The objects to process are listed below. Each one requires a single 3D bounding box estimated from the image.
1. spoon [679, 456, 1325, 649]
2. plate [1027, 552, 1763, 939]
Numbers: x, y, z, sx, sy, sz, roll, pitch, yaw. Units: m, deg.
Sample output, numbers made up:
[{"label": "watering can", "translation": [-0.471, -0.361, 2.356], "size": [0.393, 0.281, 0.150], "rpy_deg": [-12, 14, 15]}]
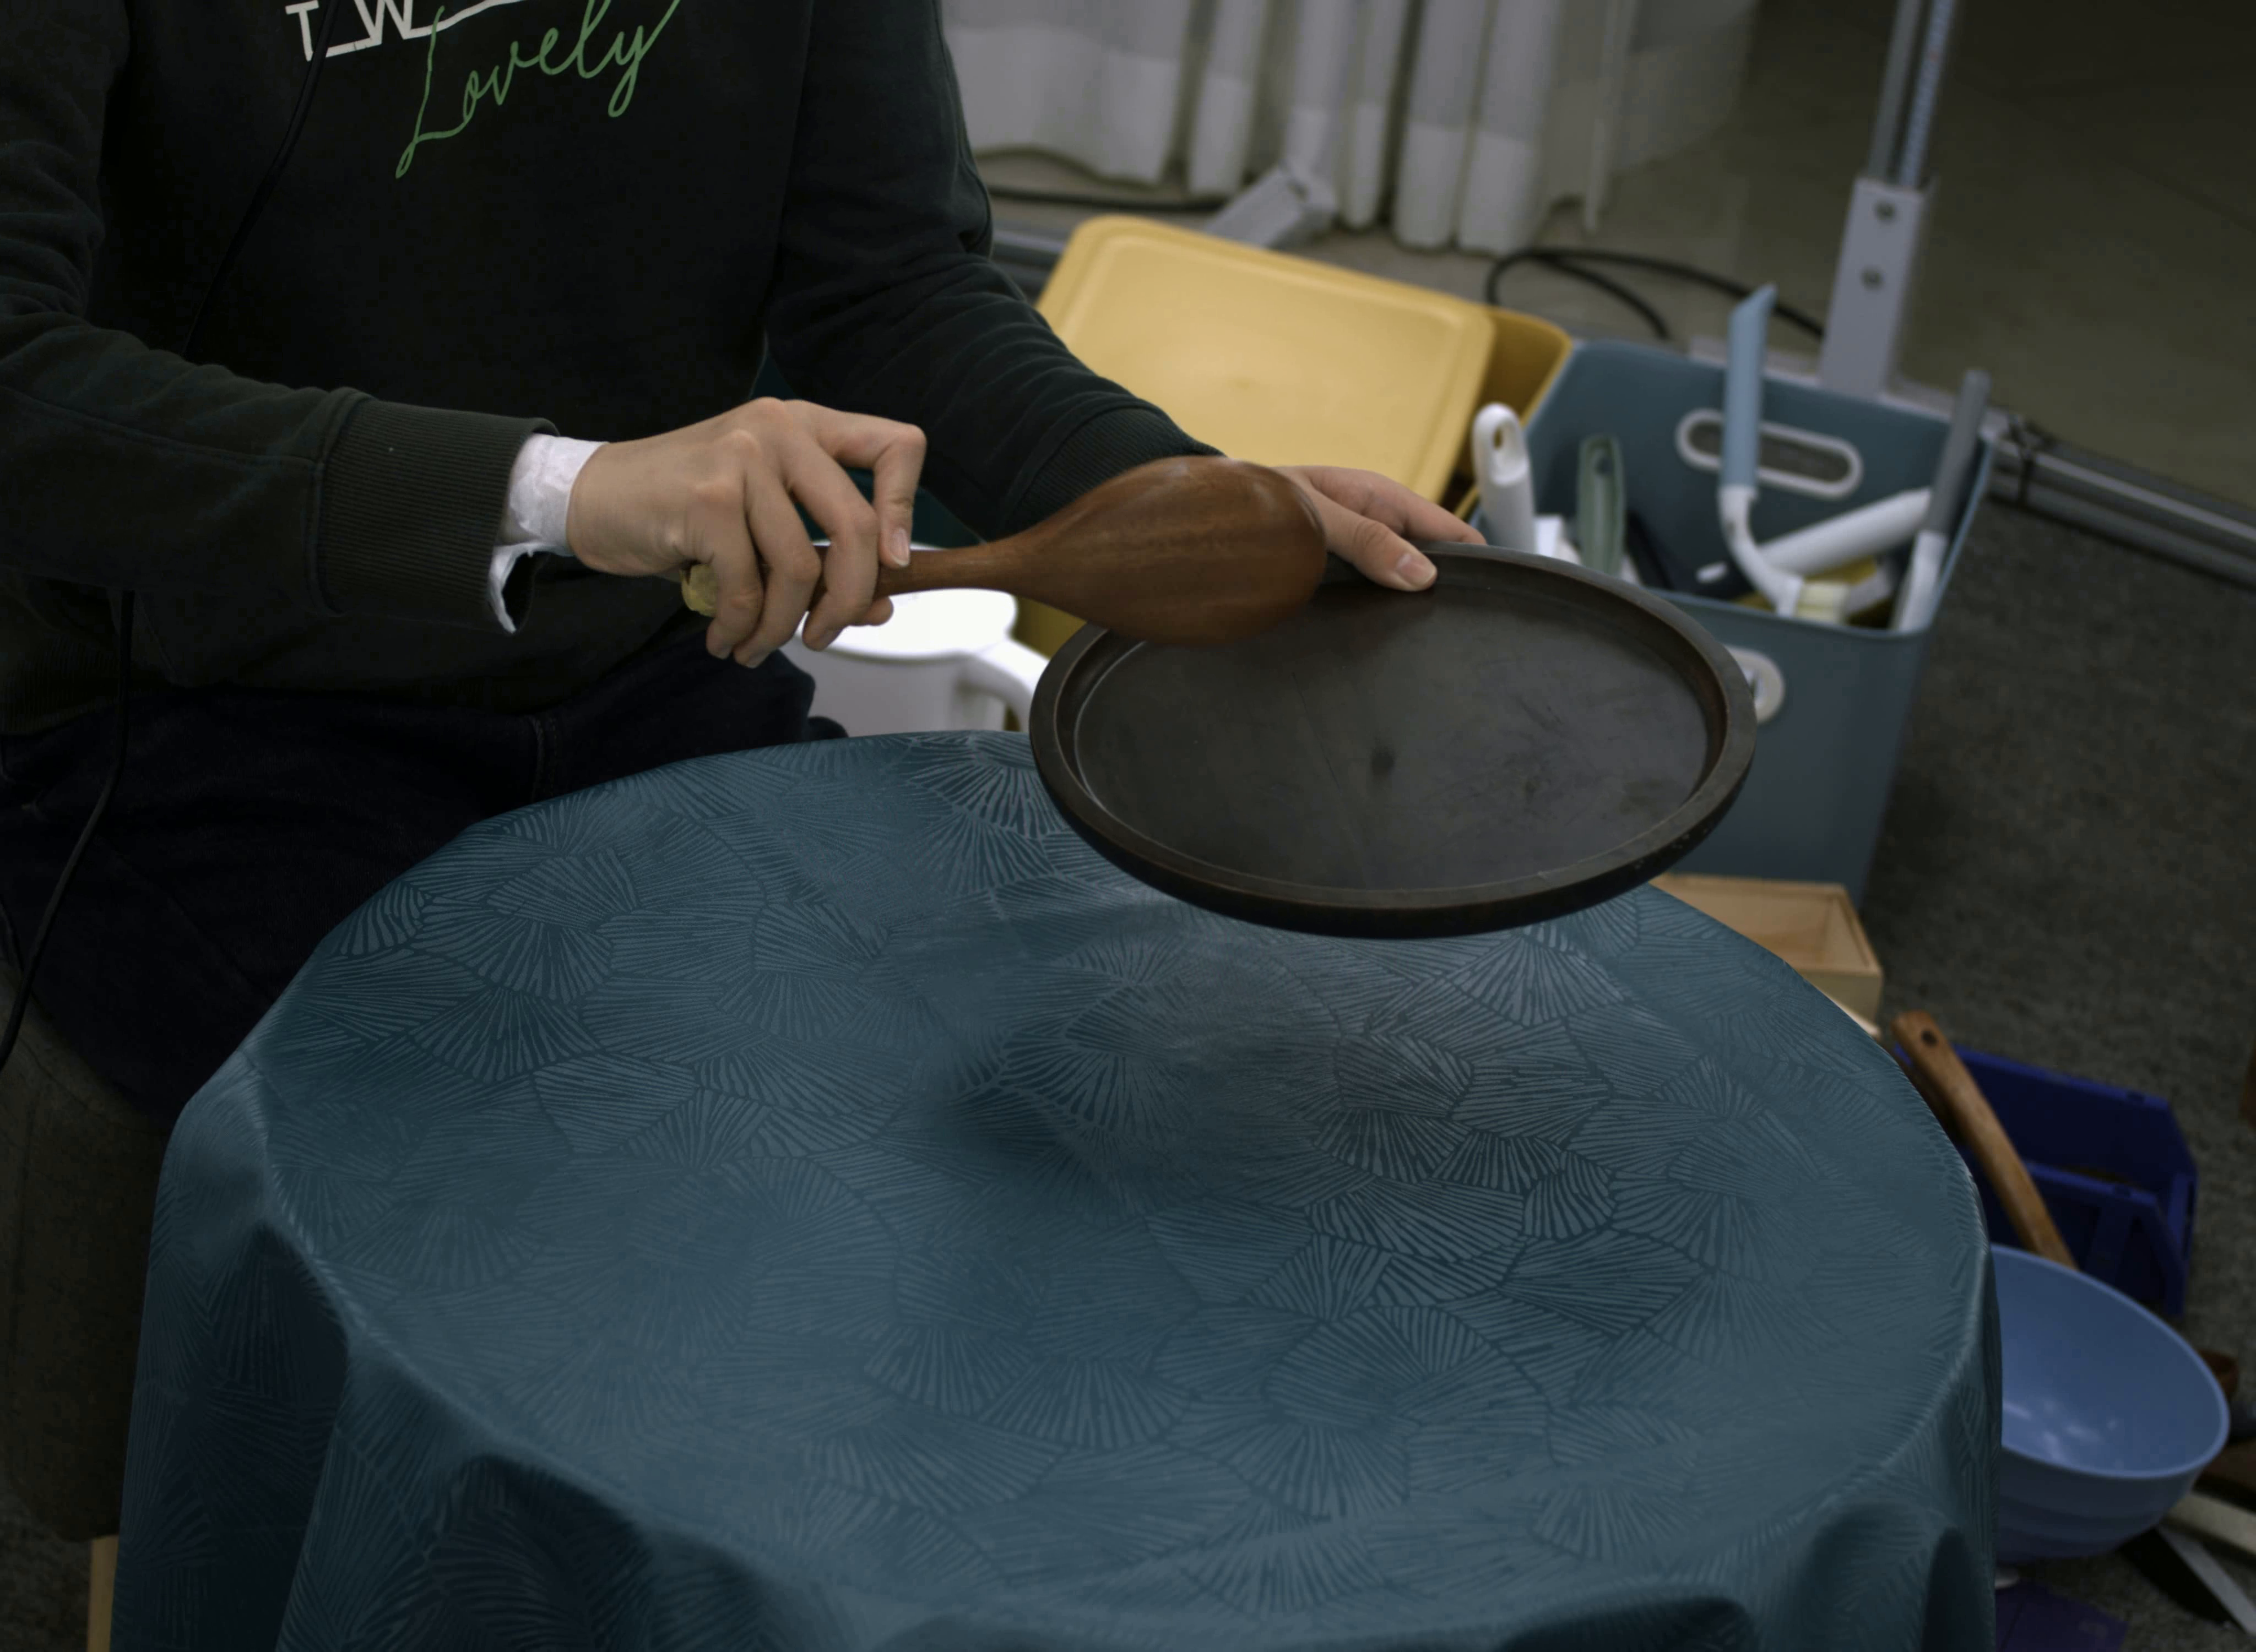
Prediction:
[{"label": "spoon", "translation": [-0.042, -0.087, 1.771], "size": [0.215, 0.075, 0.017], "rpy_deg": [-1, 33, 3]}, {"label": "plate", "translation": [0.092, -0.030, 1.842], "size": [0.254, 0.029, 0.256], "rpy_deg": [-1, 31, 0]}]
